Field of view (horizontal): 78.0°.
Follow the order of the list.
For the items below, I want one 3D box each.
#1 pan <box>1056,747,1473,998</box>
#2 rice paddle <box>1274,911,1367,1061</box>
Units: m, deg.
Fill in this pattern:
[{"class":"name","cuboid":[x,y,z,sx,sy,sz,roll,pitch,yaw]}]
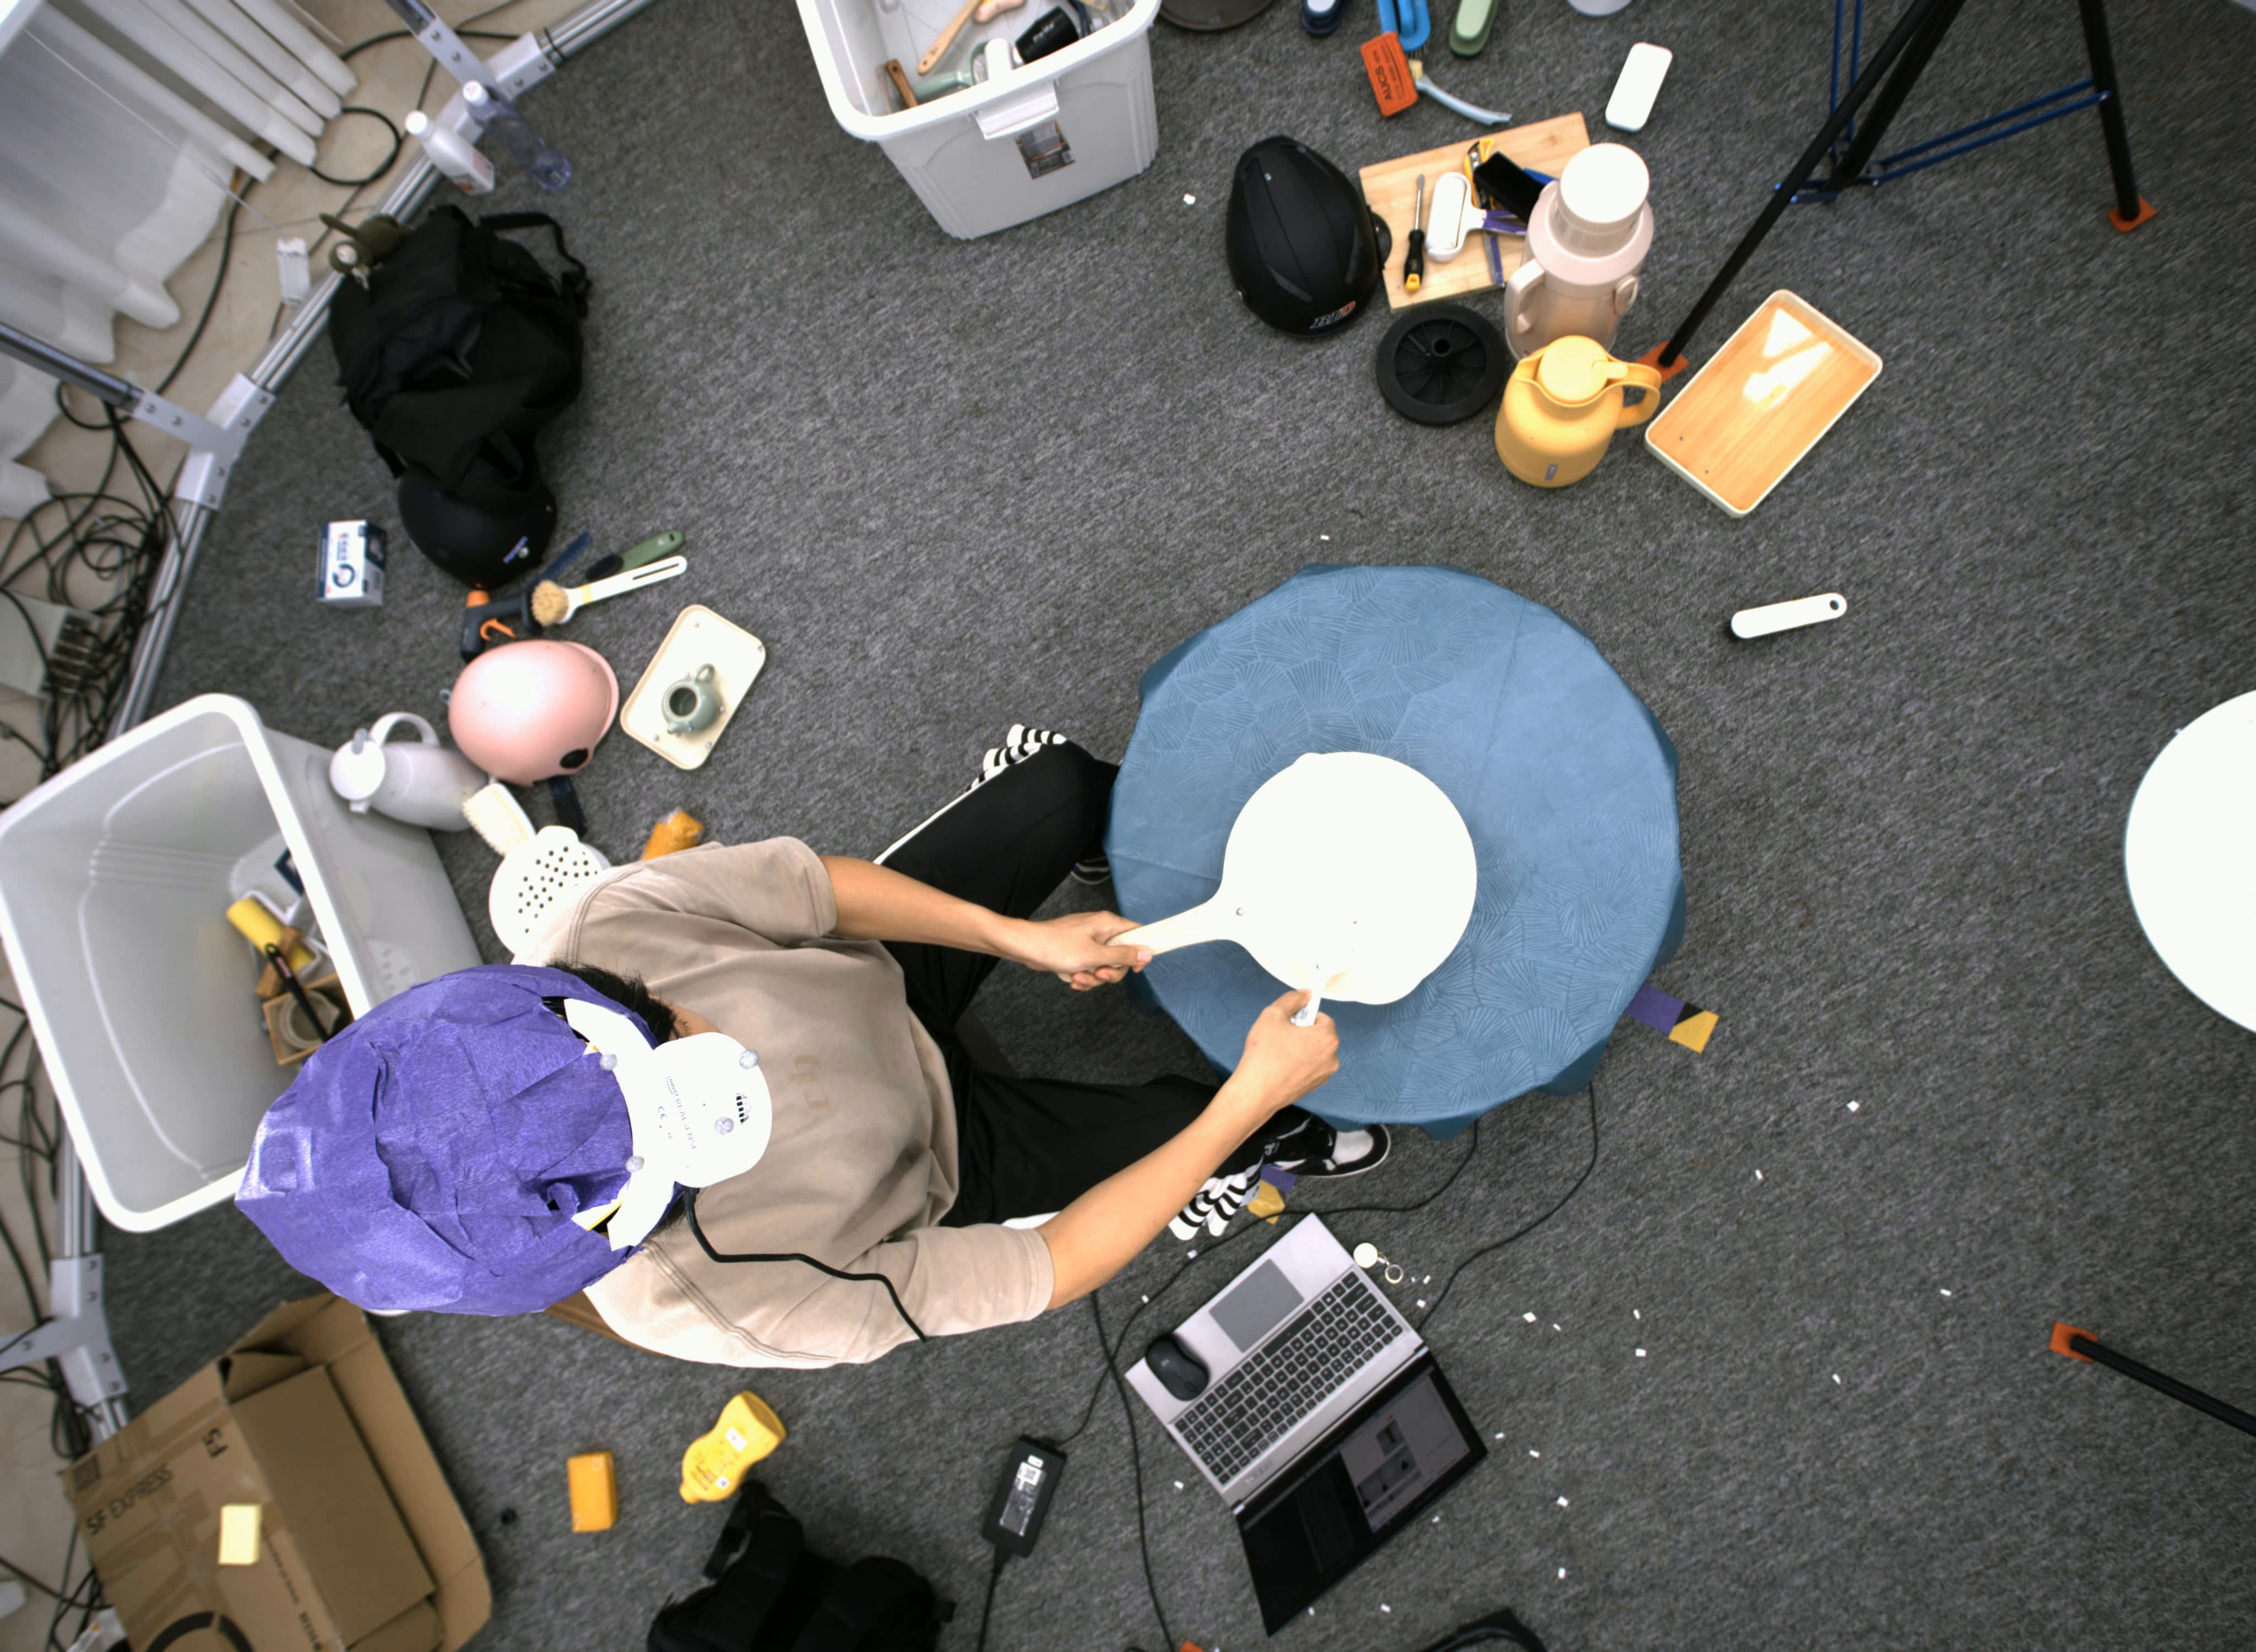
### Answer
[{"class":"pan","cuboid":[0.138,0.079,1.431,0.437,0.102,0.261,-20,83,8]},{"class":"rice paddle","cuboid":[0.187,0.148,1.371,0.069,0.200,0.030,17,134,14]}]
